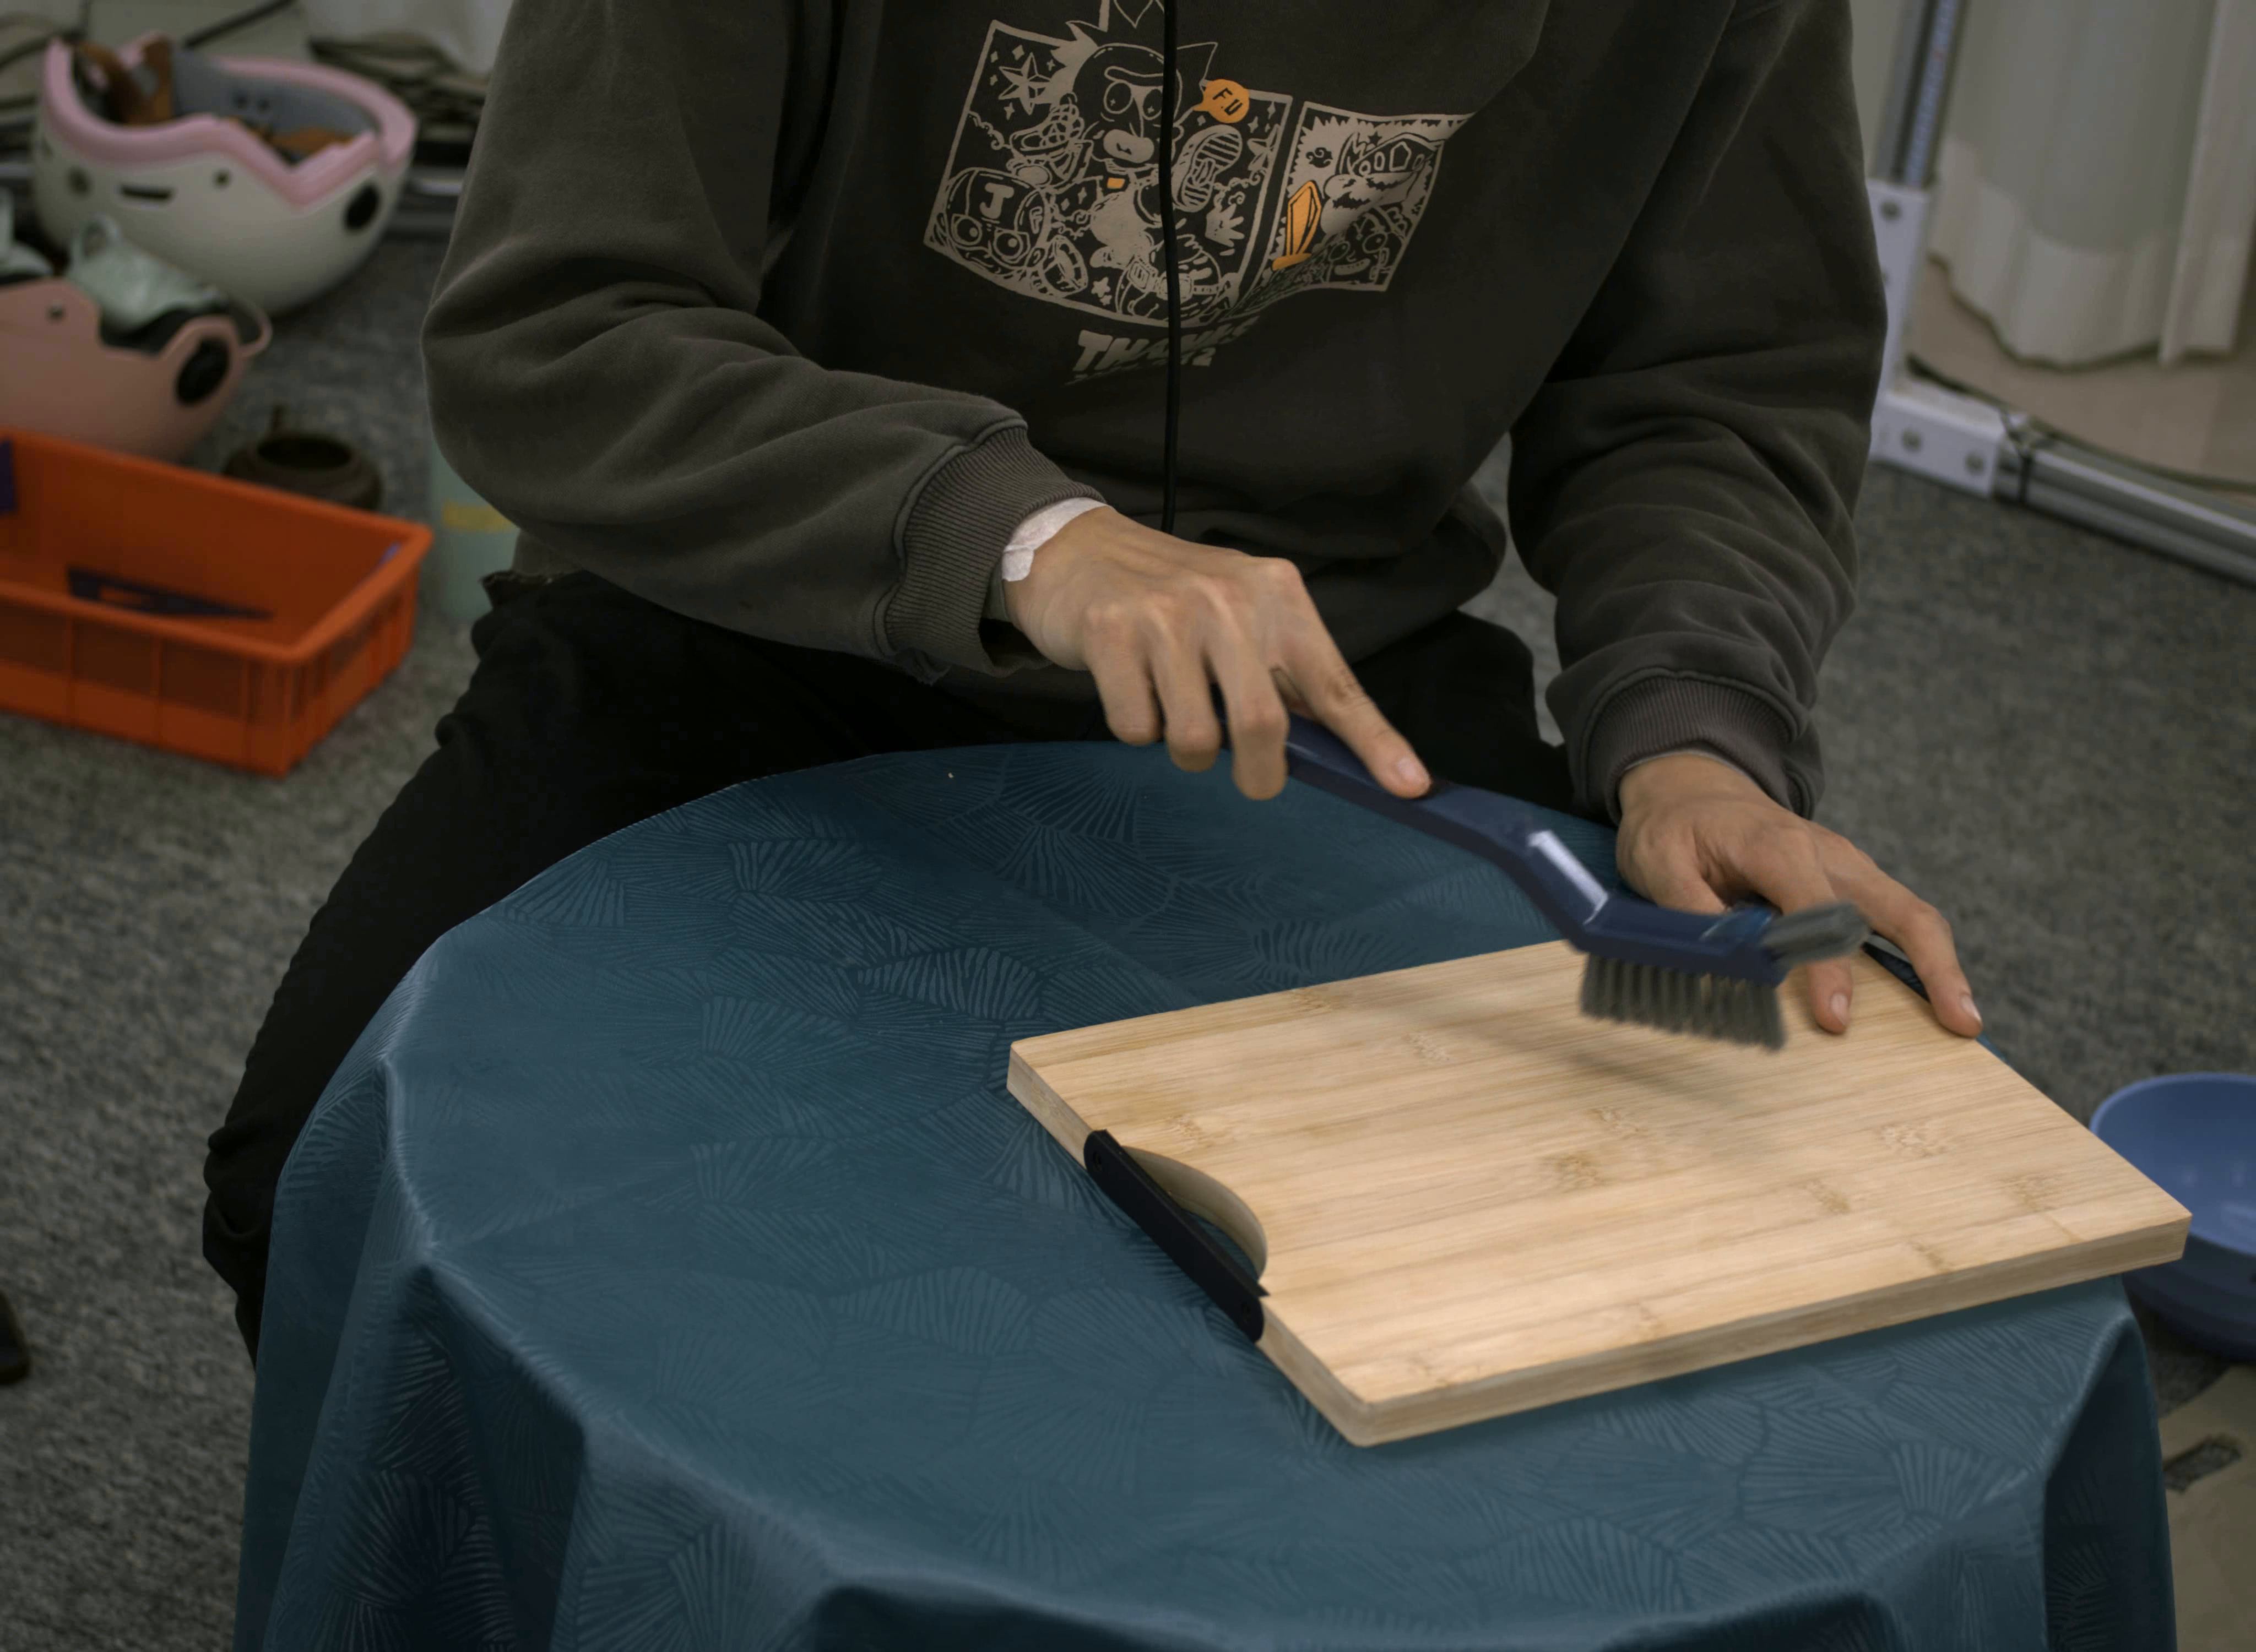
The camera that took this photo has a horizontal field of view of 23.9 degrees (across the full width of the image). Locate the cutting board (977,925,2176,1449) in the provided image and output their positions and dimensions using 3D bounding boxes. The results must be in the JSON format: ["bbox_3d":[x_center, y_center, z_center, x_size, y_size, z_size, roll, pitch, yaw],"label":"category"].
[{"bbox_3d":[0.156,0.114,1.840,0.346,0.023,0.253,-9,30,-29],"label":"cutting board"}]

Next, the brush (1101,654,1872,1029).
[{"bbox_3d":[0.122,-0.008,1.867,0.273,0.095,0.033,29,40,7],"label":"brush"}]
